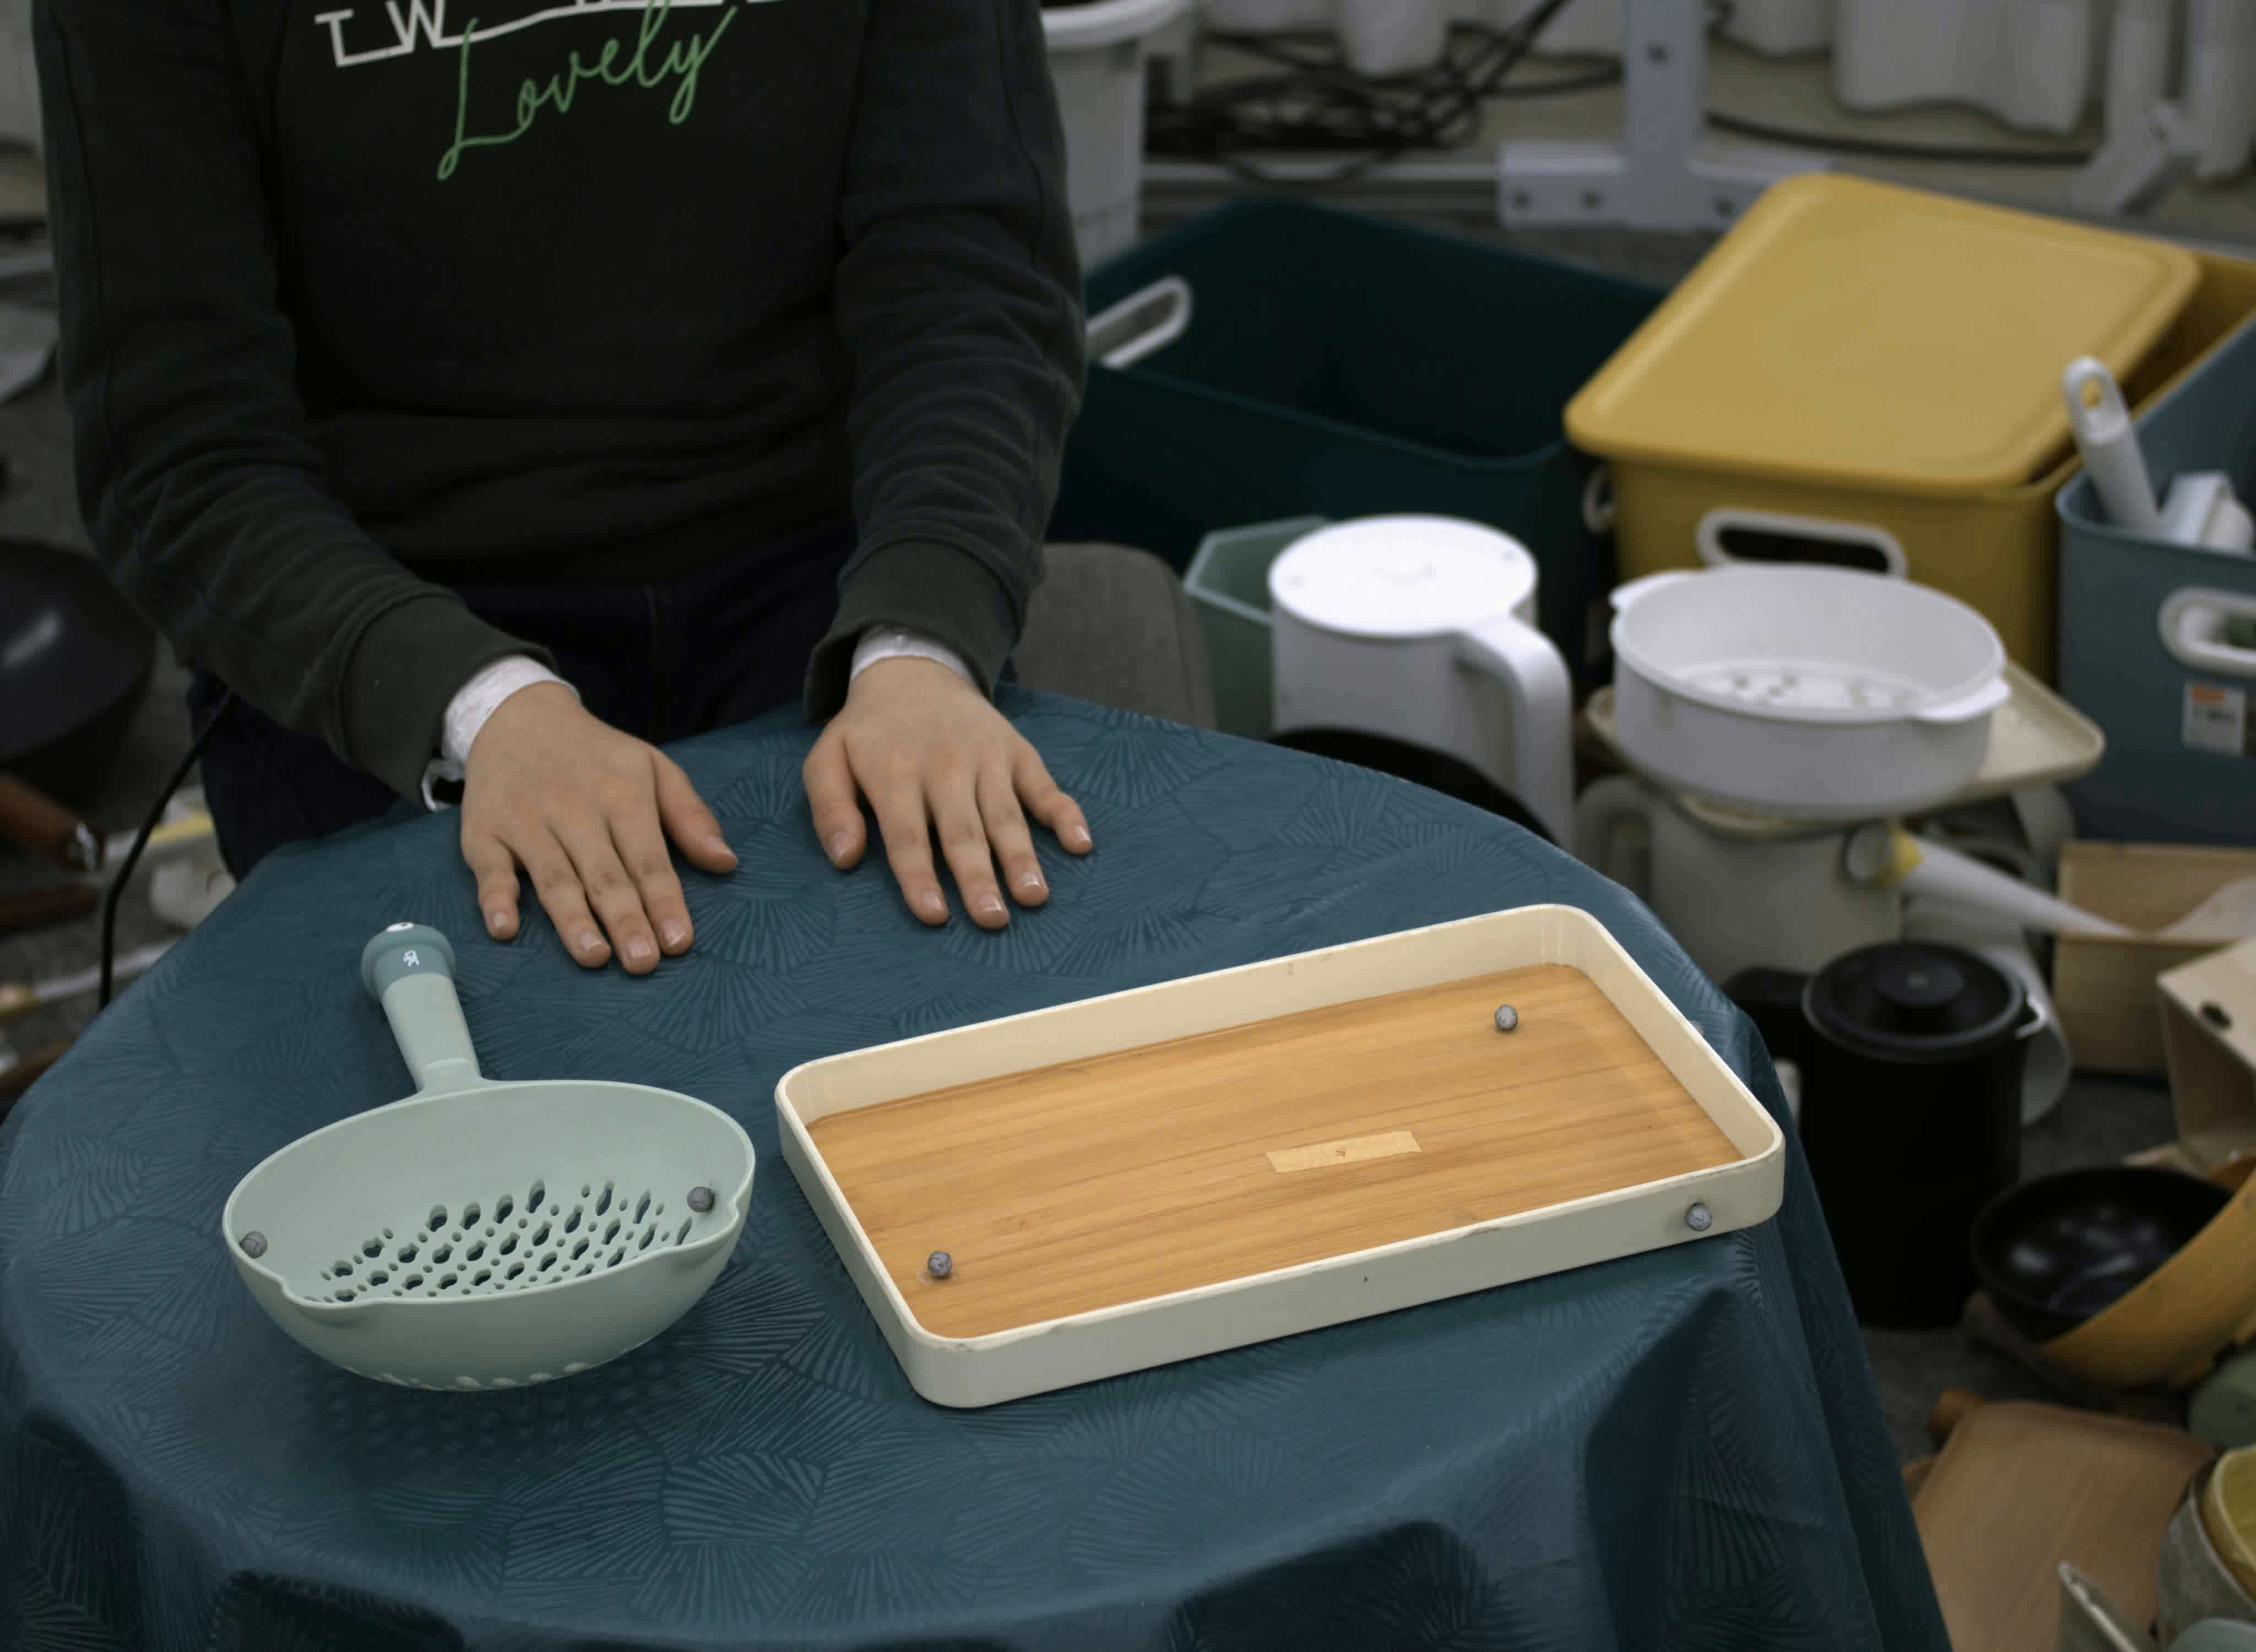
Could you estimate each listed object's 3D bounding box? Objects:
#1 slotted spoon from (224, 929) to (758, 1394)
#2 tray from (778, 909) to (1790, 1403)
[{"bbox_3d":[-0.222,0.095,1.865,0.169,0.074,0.363,-8,27,-11],"label":"slotted spoon"},{"bbox_3d":[0.049,0.105,1.859,0.301,0.027,0.193,-11,28,-16],"label":"tray"}]
